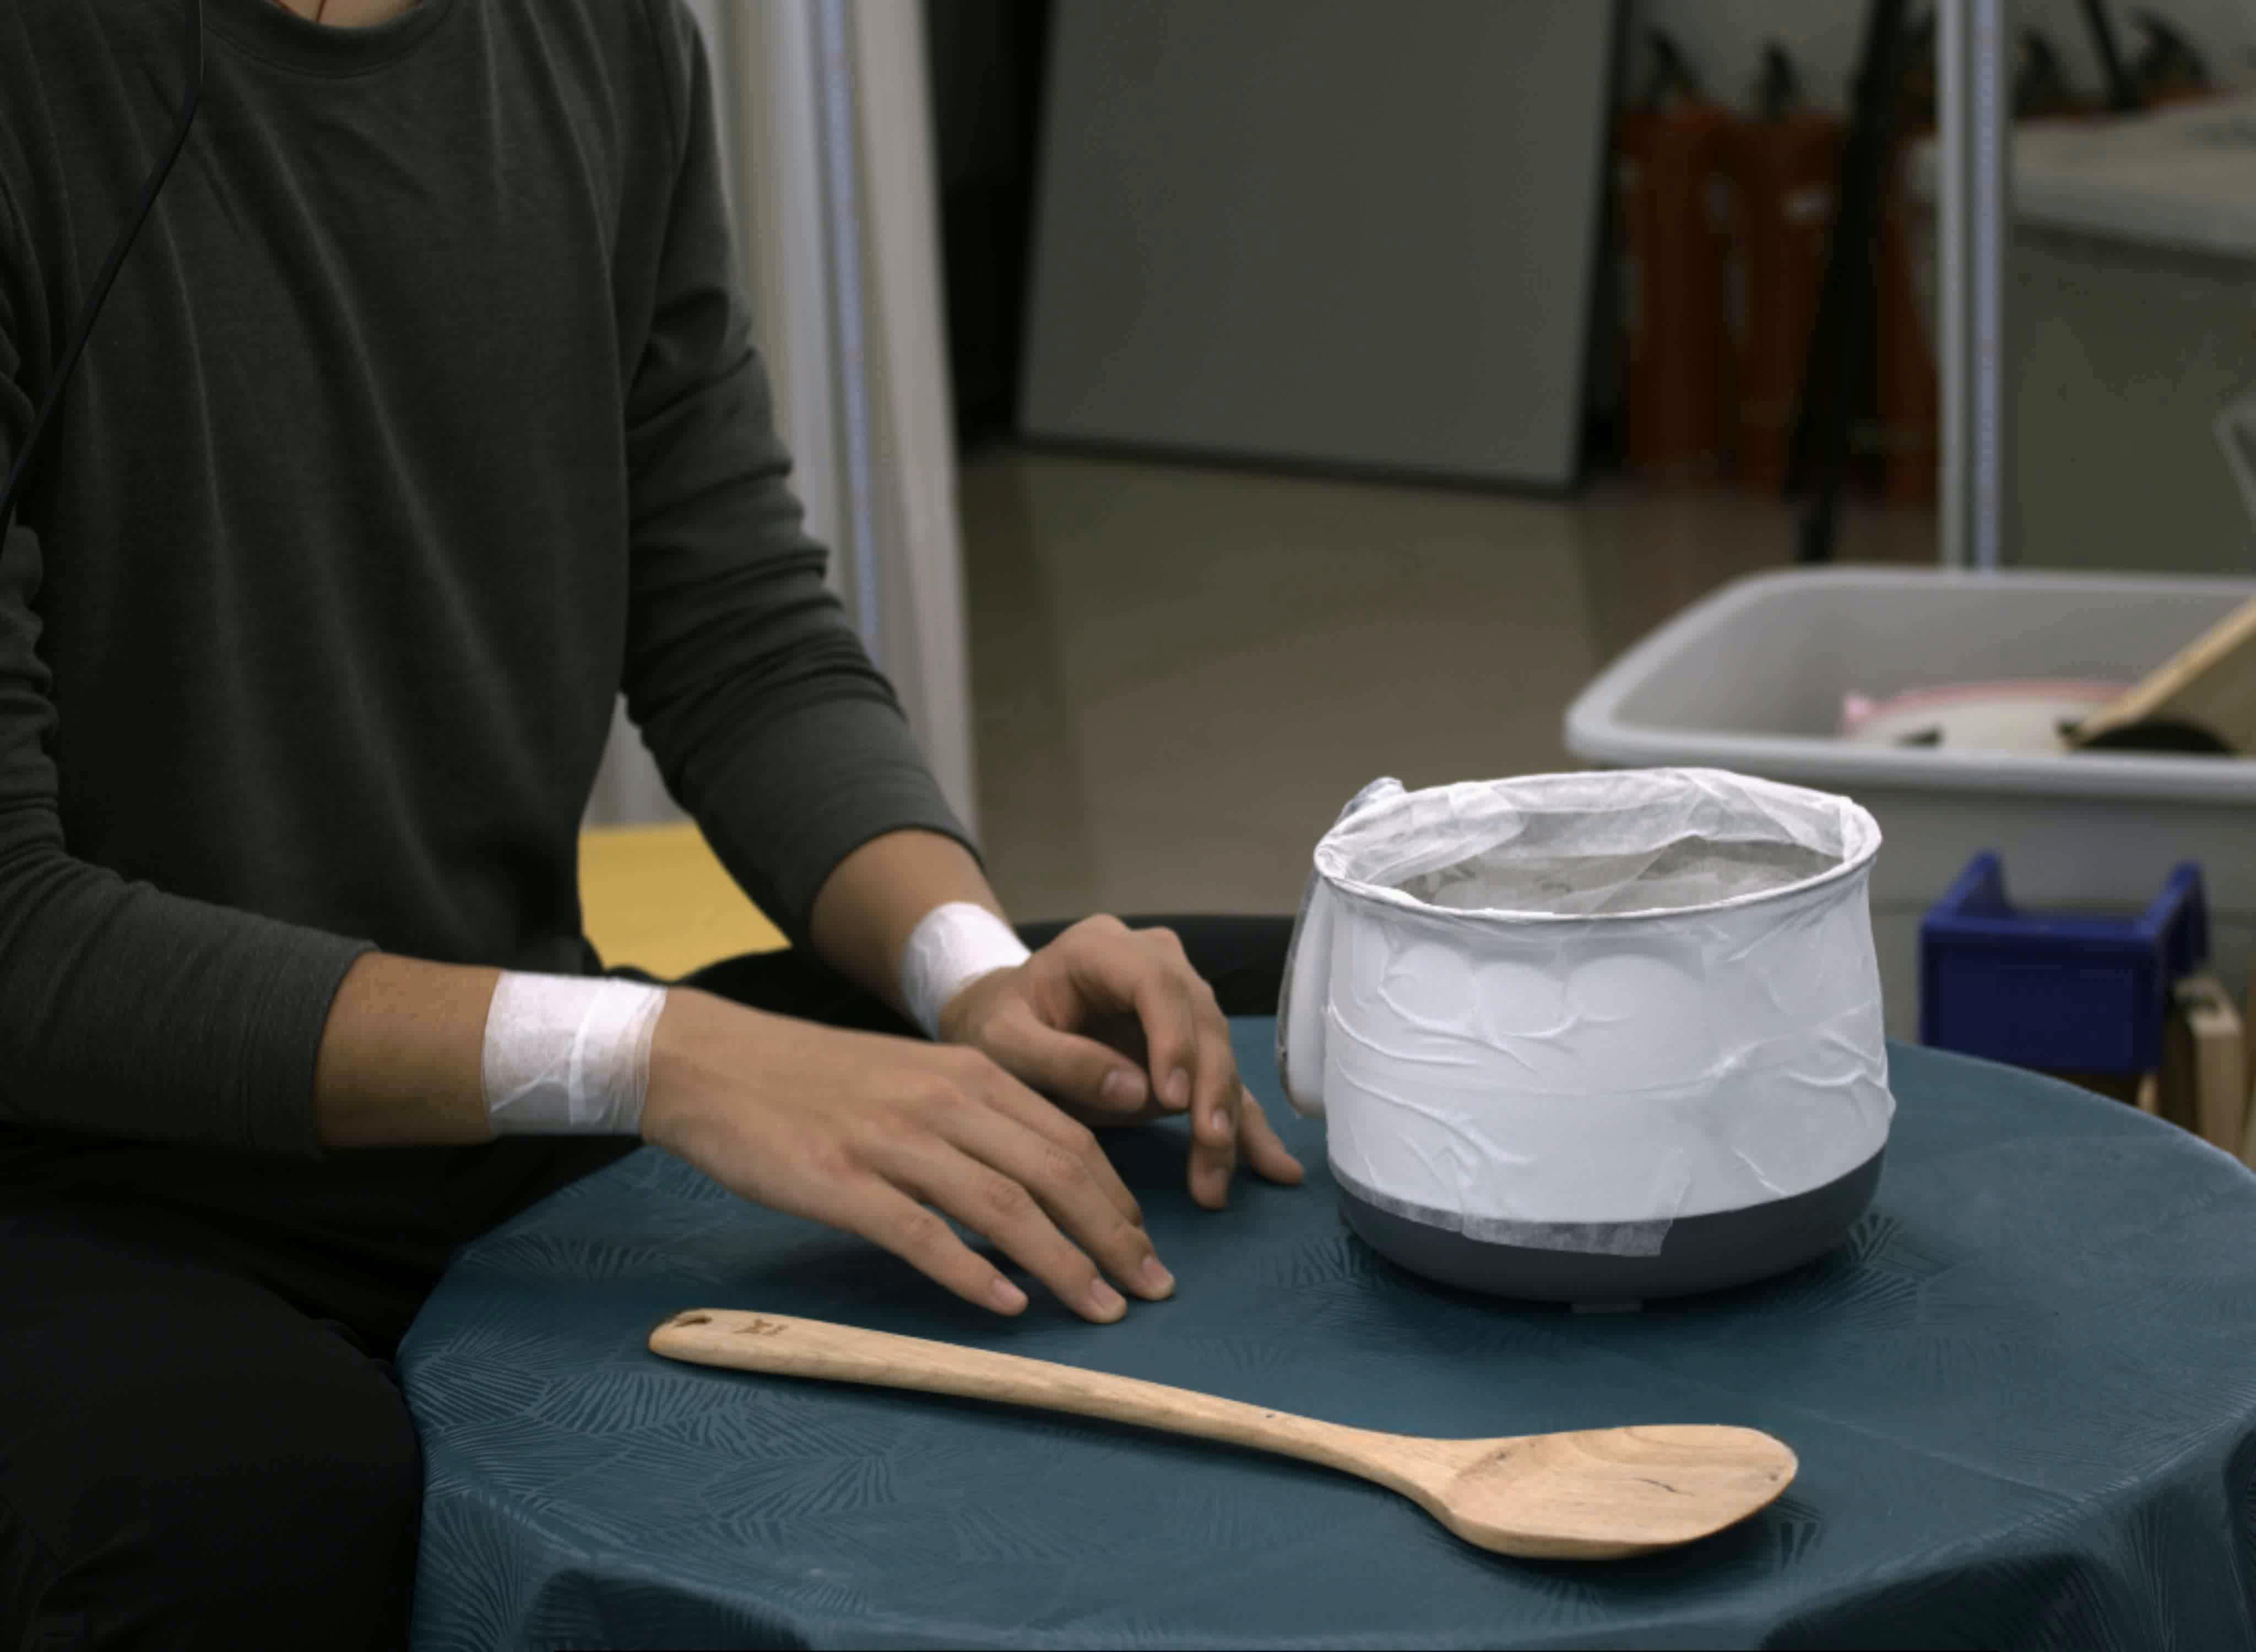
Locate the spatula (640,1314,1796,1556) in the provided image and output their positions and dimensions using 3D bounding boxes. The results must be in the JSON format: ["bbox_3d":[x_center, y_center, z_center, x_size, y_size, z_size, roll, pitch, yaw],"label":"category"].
[{"bbox_3d":[0.009,0.168,1.538,0.393,0.018,0.094,6,15,35],"label":"spatula"}]

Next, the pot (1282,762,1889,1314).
[{"bbox_3d":[0.131,0.060,1.696,0.175,0.138,0.236,-14,16,-37],"label":"pot"}]
